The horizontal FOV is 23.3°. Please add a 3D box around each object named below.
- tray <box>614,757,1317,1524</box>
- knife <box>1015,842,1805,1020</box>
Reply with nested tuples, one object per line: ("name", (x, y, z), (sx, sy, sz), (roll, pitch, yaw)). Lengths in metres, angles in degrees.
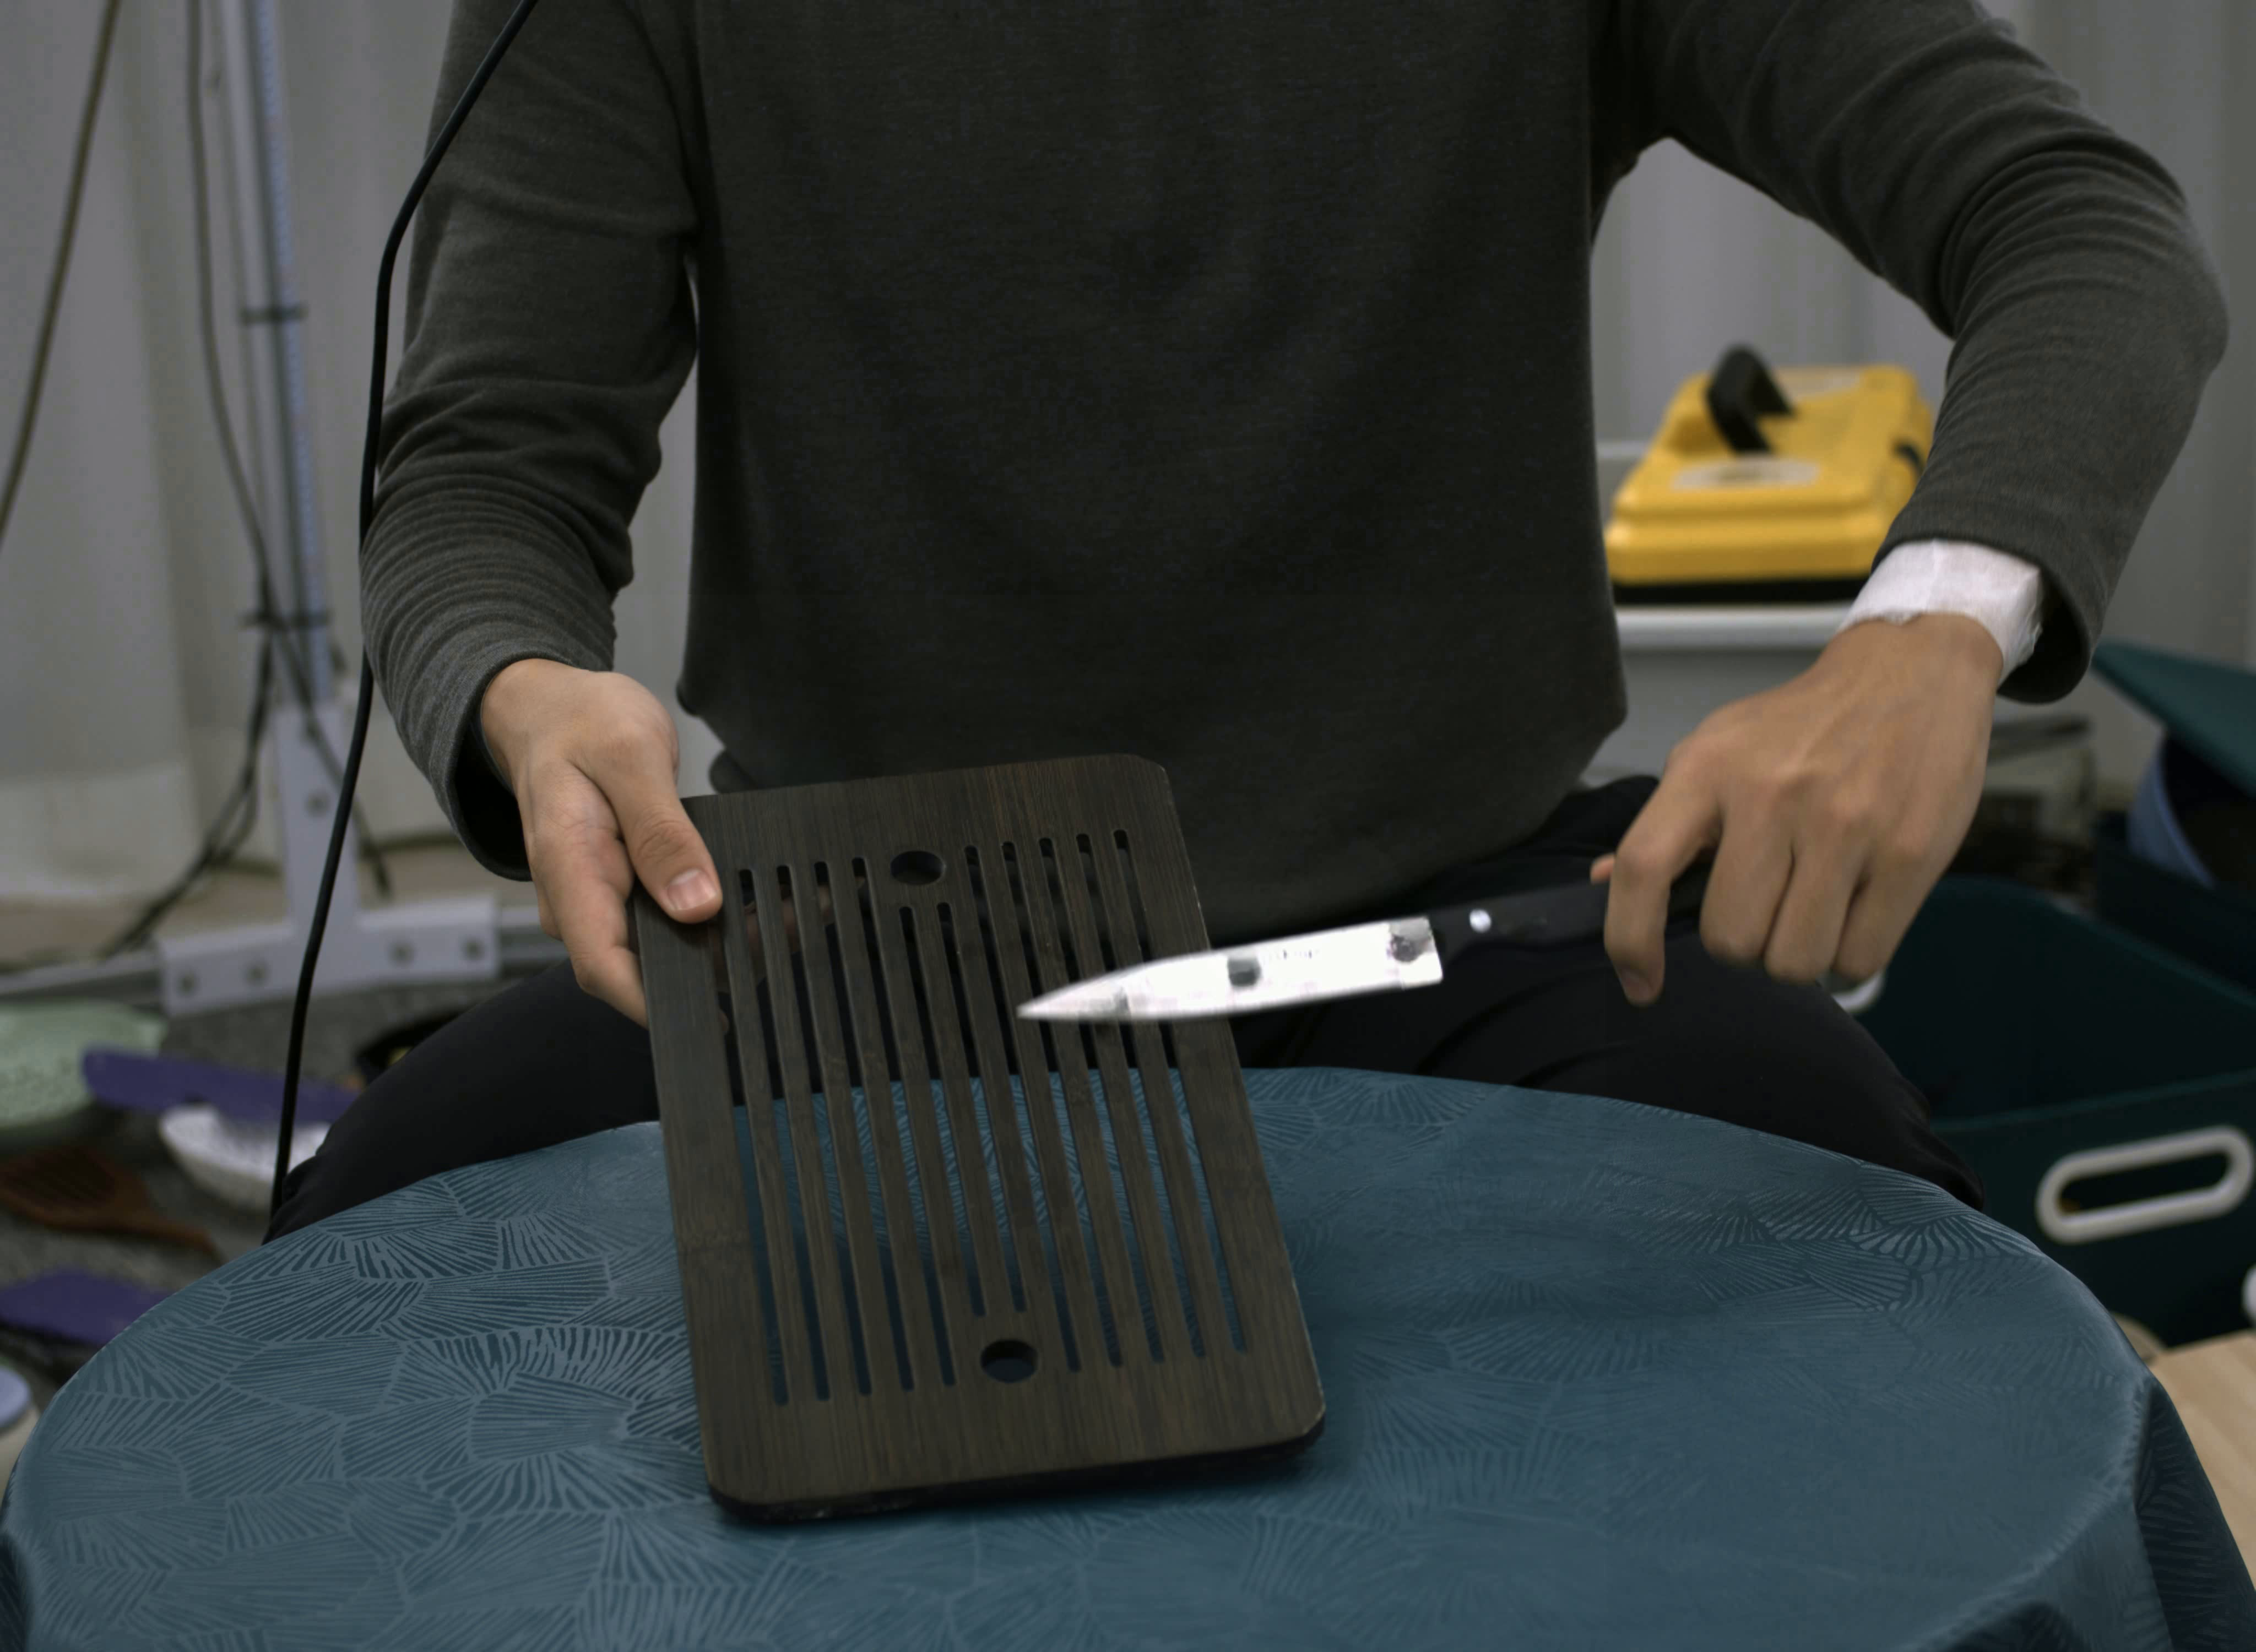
("tray", (-0.053, 0.085, 1.583), (0.169, 0.018, 0.310), (-6, 39, -6))
("knife", (0.083, 0.032, 1.620), (0.237, 0.016, 0.025), (-10, 56, -3))
